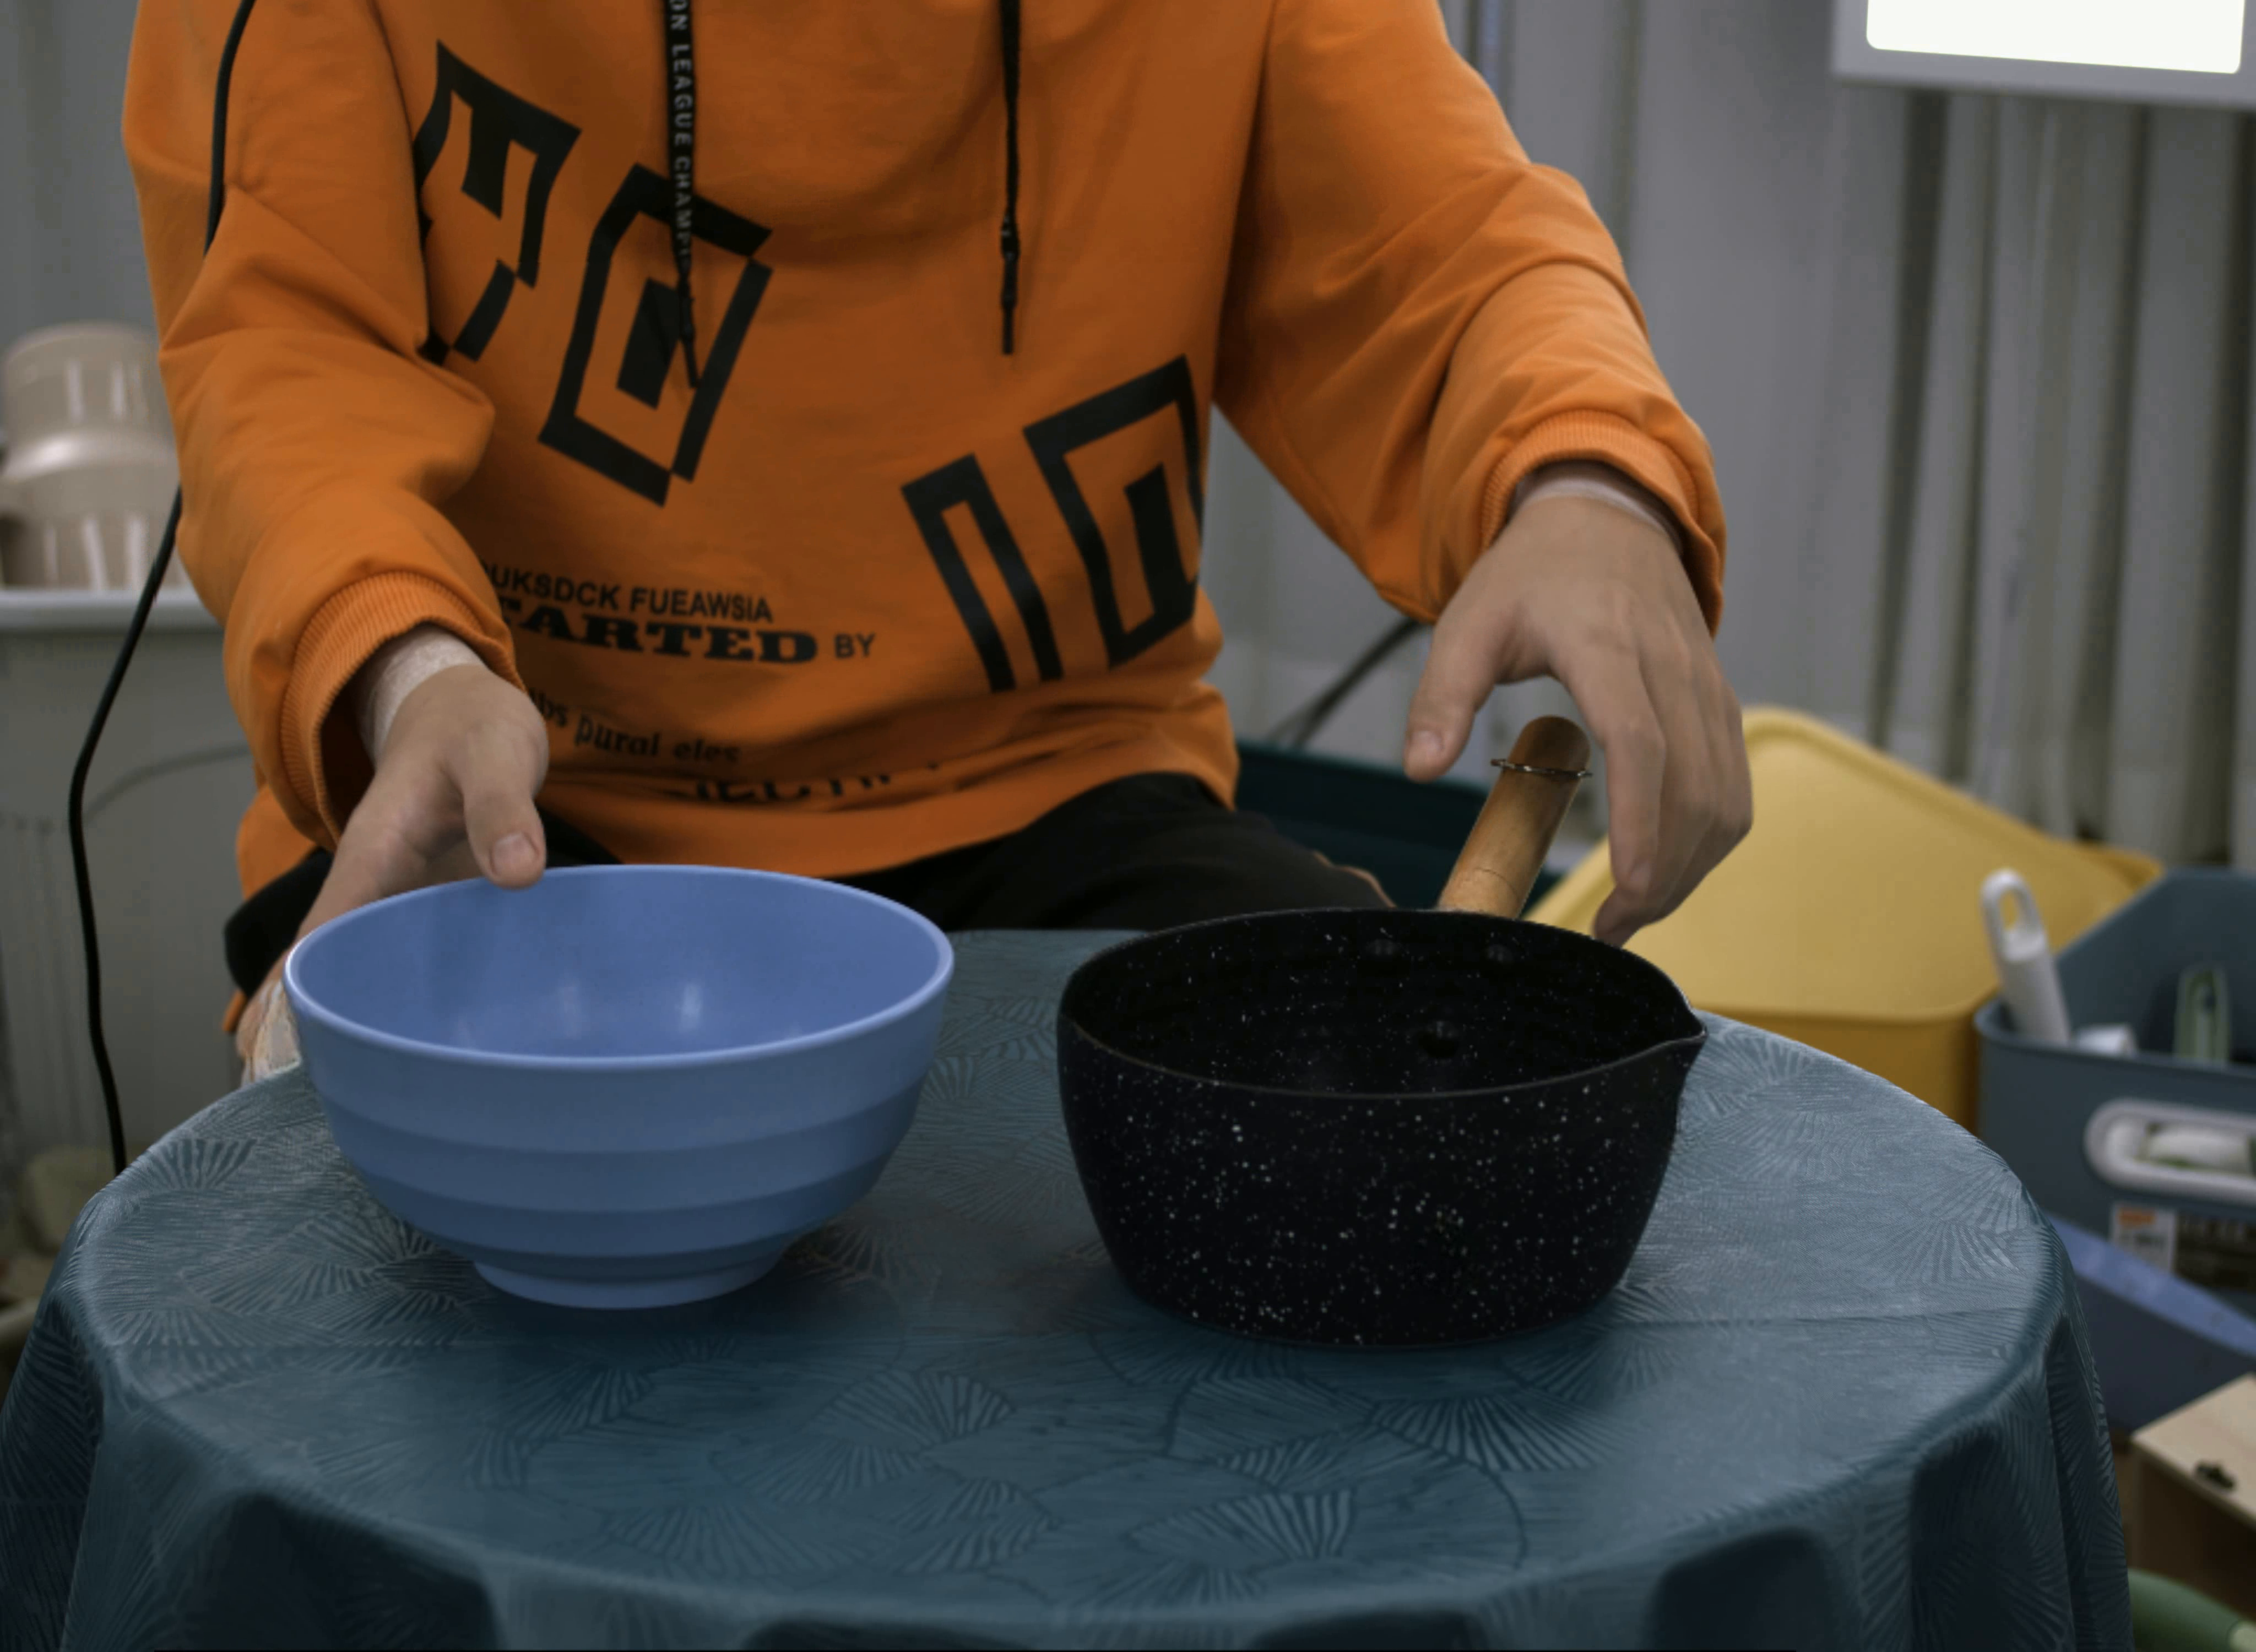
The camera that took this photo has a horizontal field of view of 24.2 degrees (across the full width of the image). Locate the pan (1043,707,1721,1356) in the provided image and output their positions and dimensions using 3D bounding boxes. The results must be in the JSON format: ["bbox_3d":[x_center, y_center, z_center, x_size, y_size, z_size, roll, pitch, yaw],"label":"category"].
[{"bbox_3d":[0.093,0.057,1.619,0.206,0.109,0.342,4,17,15],"label":"pan"}]

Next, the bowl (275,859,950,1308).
[{"bbox_3d":[-0.149,0.081,1.548,0.196,0.096,0.195,0,17,1],"label":"bowl"}]
